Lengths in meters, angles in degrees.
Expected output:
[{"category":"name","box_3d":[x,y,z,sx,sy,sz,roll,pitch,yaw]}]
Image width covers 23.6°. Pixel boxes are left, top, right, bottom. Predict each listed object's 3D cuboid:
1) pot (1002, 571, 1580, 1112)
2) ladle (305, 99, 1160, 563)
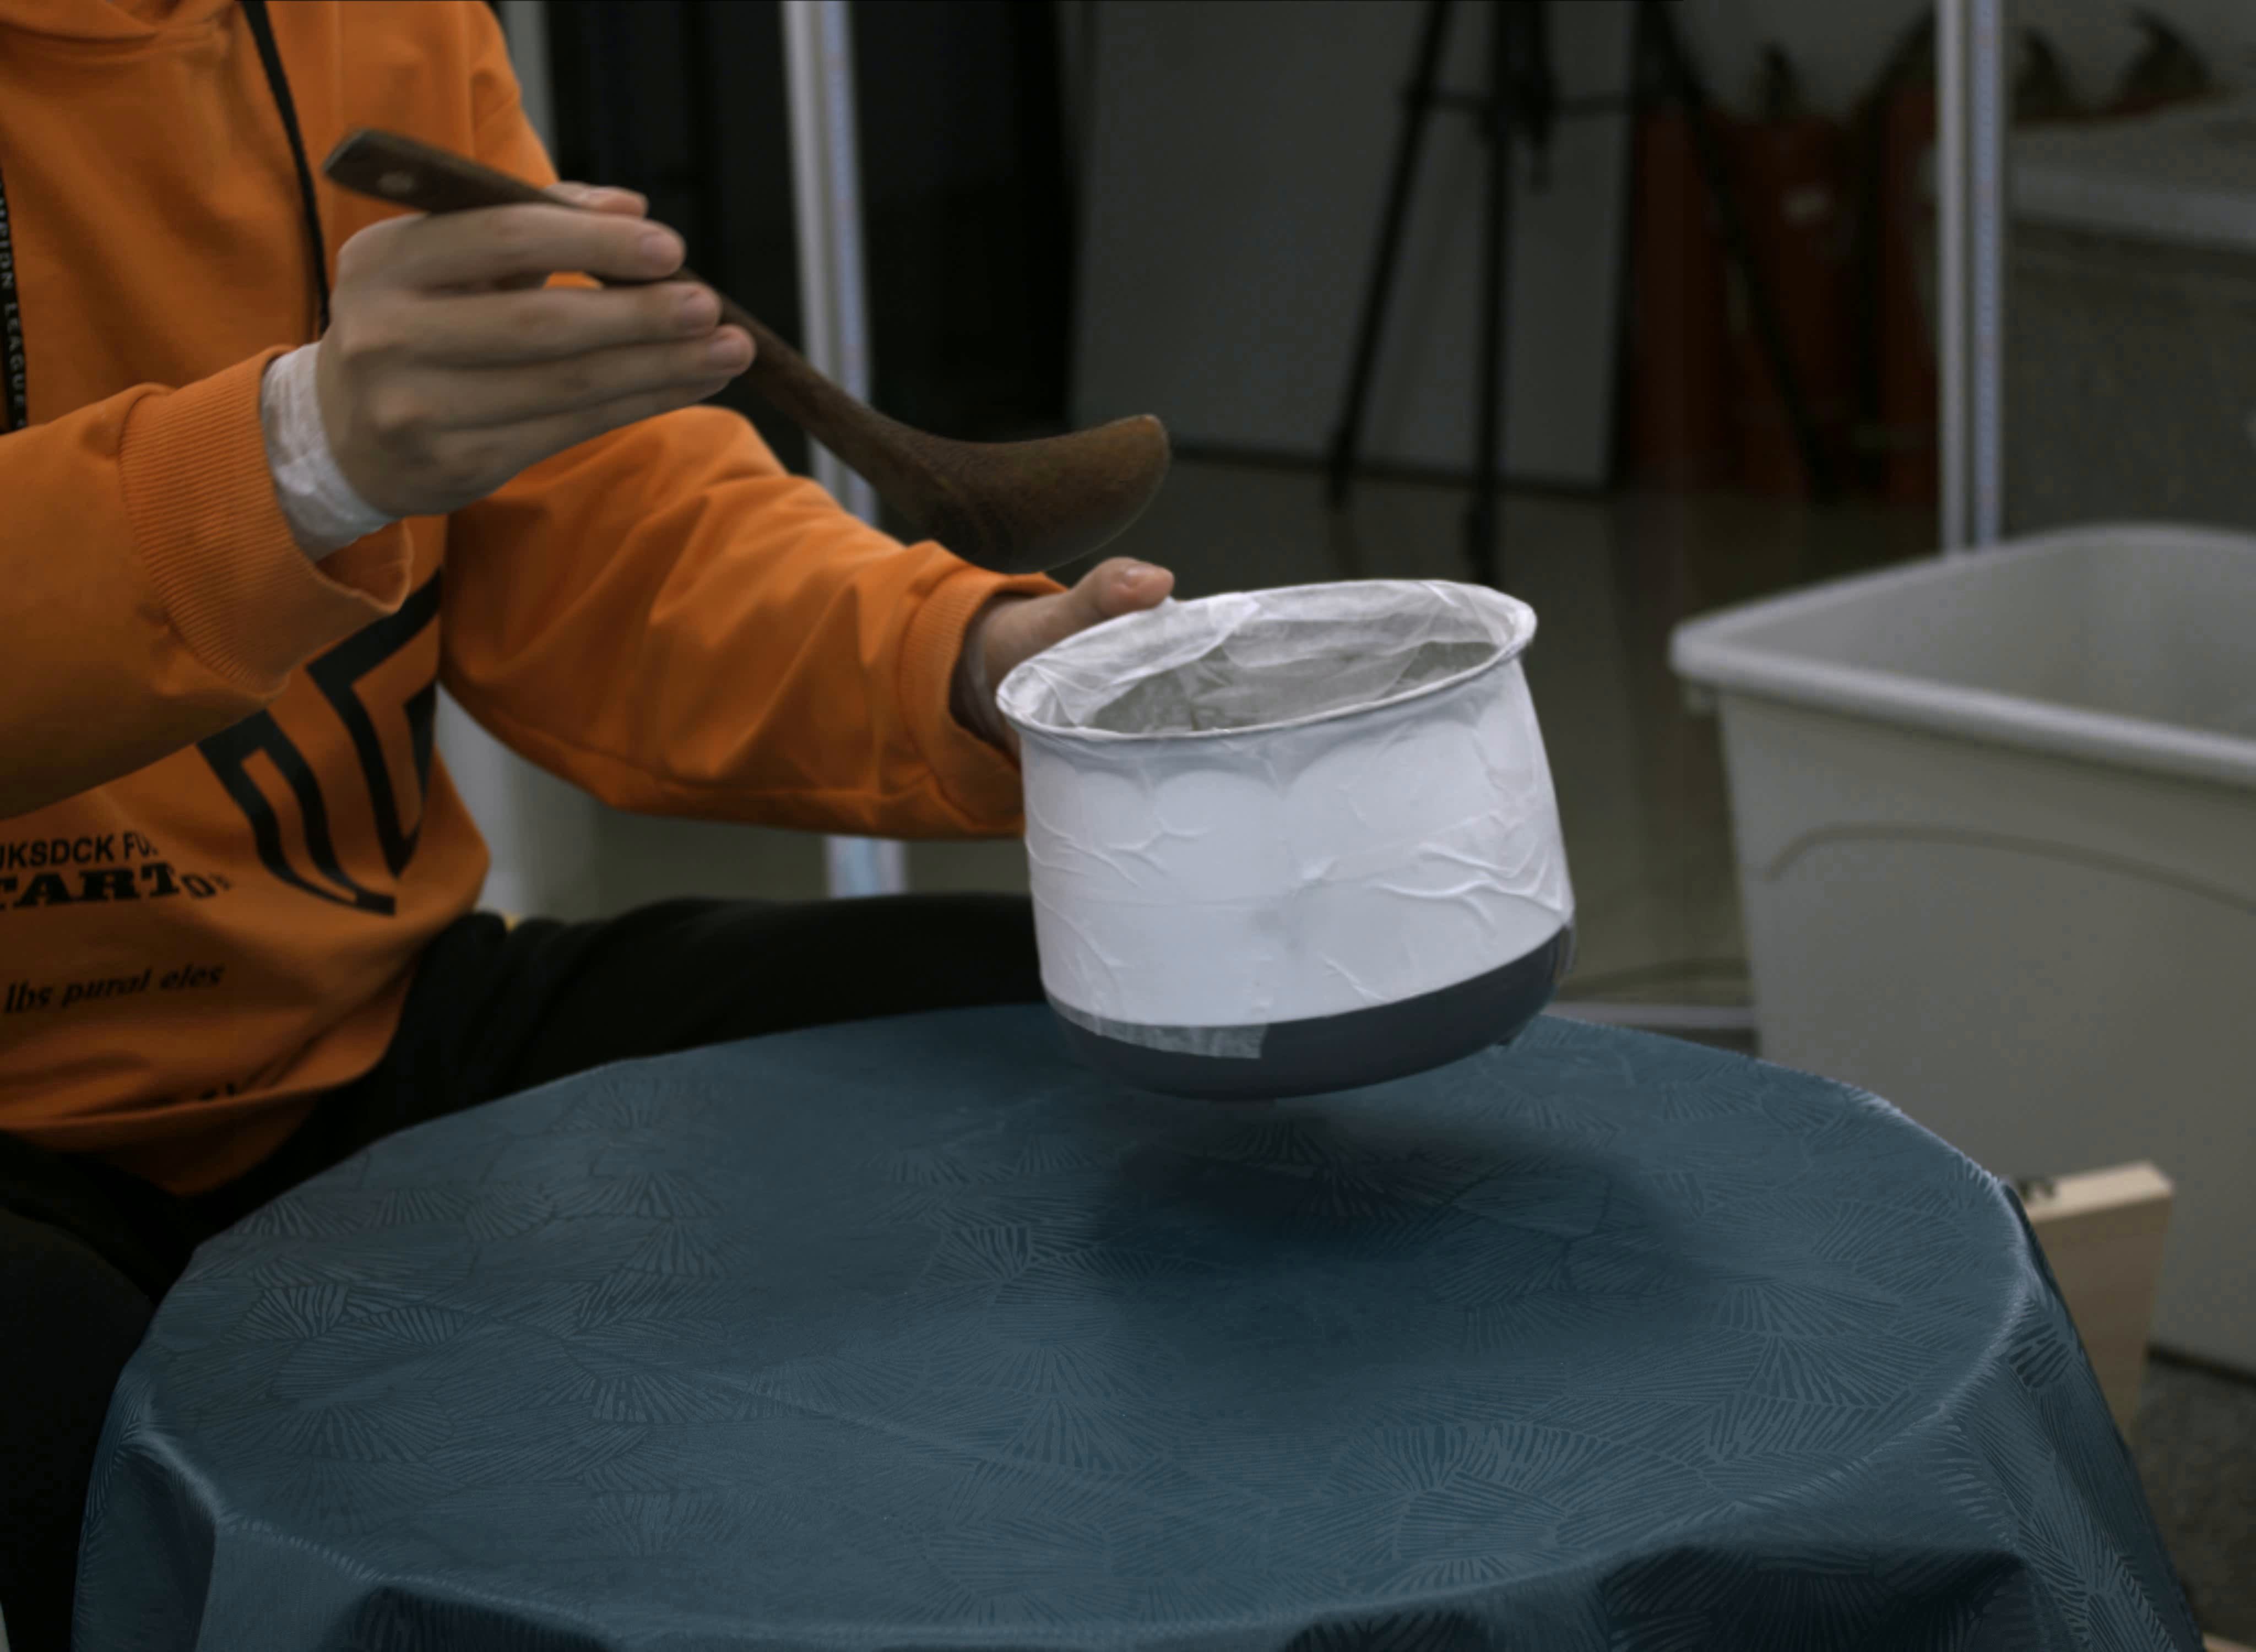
[{"category":"pot","box_3d":[0.044,-0.001,1.771,0.175,0.138,0.236,-14,16,-19]},{"category":"ladle","box_3d":[-0.113,-0.159,1.604,0.270,0.077,0.071,30,48,-16]}]
